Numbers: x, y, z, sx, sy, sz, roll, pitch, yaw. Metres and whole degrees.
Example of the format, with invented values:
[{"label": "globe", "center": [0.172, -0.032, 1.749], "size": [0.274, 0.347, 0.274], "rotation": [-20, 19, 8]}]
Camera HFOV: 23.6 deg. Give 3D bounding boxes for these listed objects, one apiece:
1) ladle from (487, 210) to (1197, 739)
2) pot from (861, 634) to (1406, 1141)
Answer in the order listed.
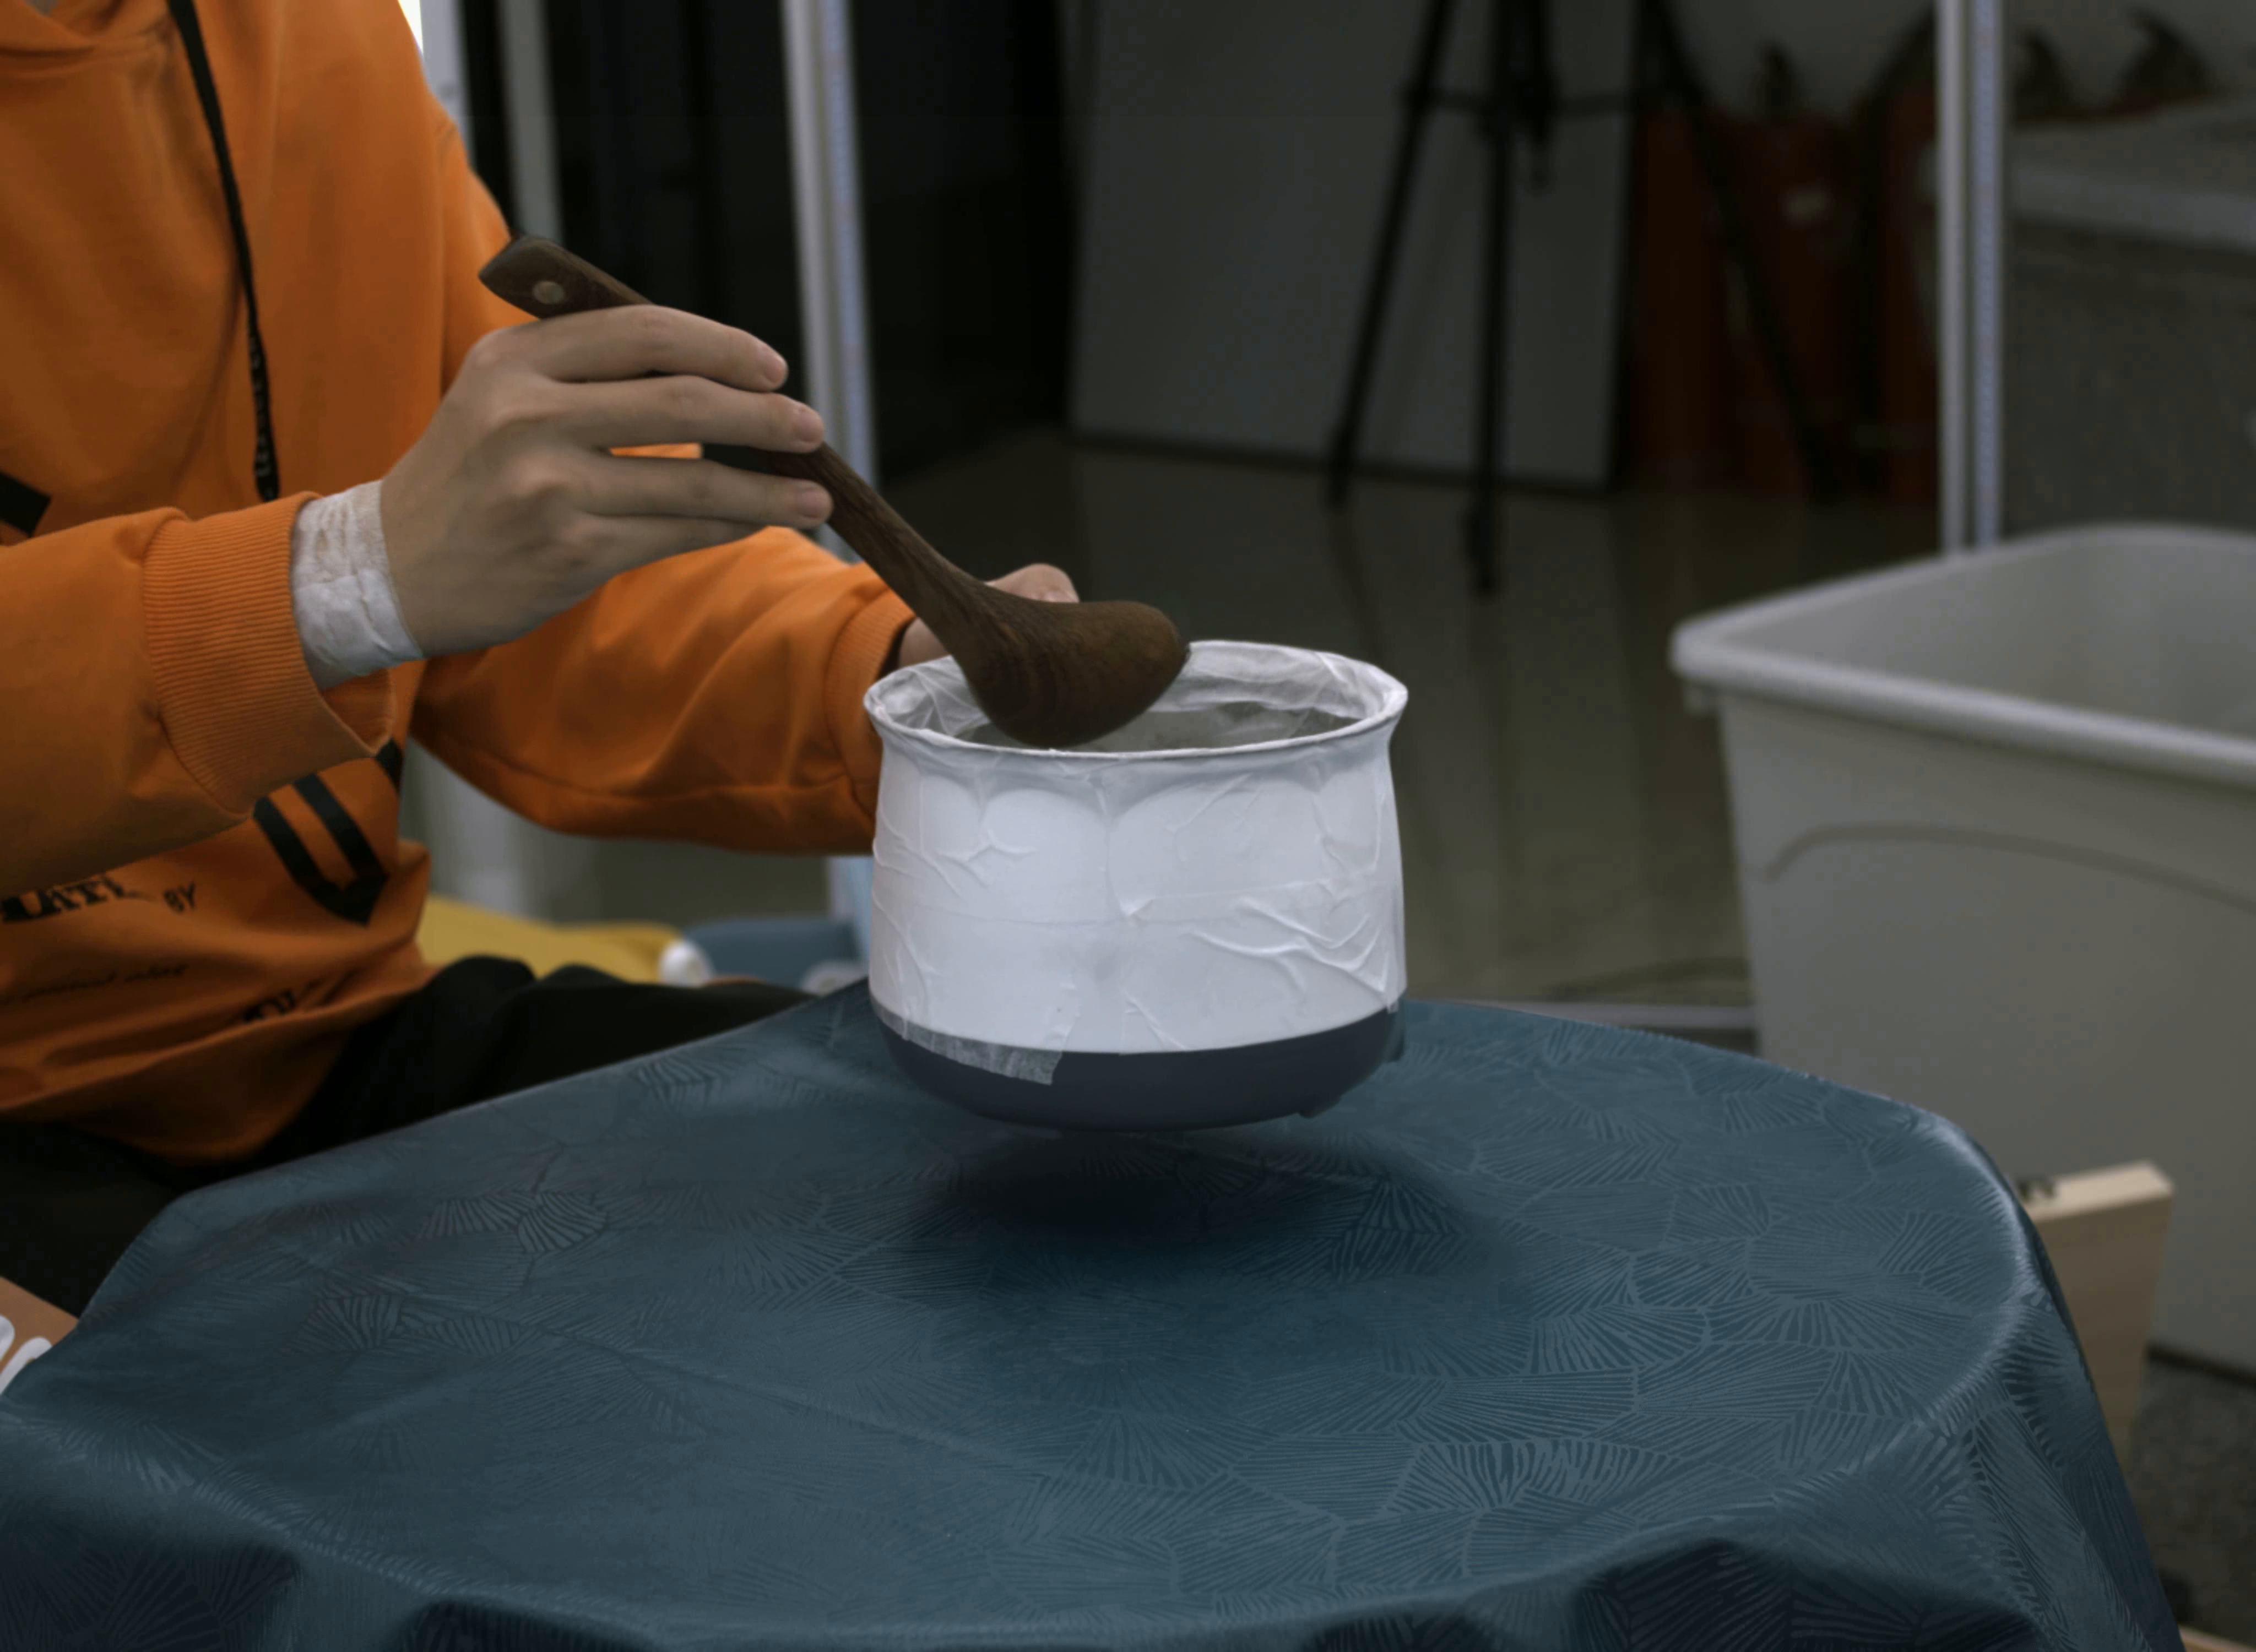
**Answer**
[{"label": "ladle", "center": [-0.090, -0.120, 1.735], "size": [0.076, 0.271, 0.071], "rotation": [-40, 21, 29]}, {"label": "pot", "center": [-0.006, 0.012, 1.774], "size": [0.175, 0.138, 0.235], "rotation": [-4, 13, -16]}]
